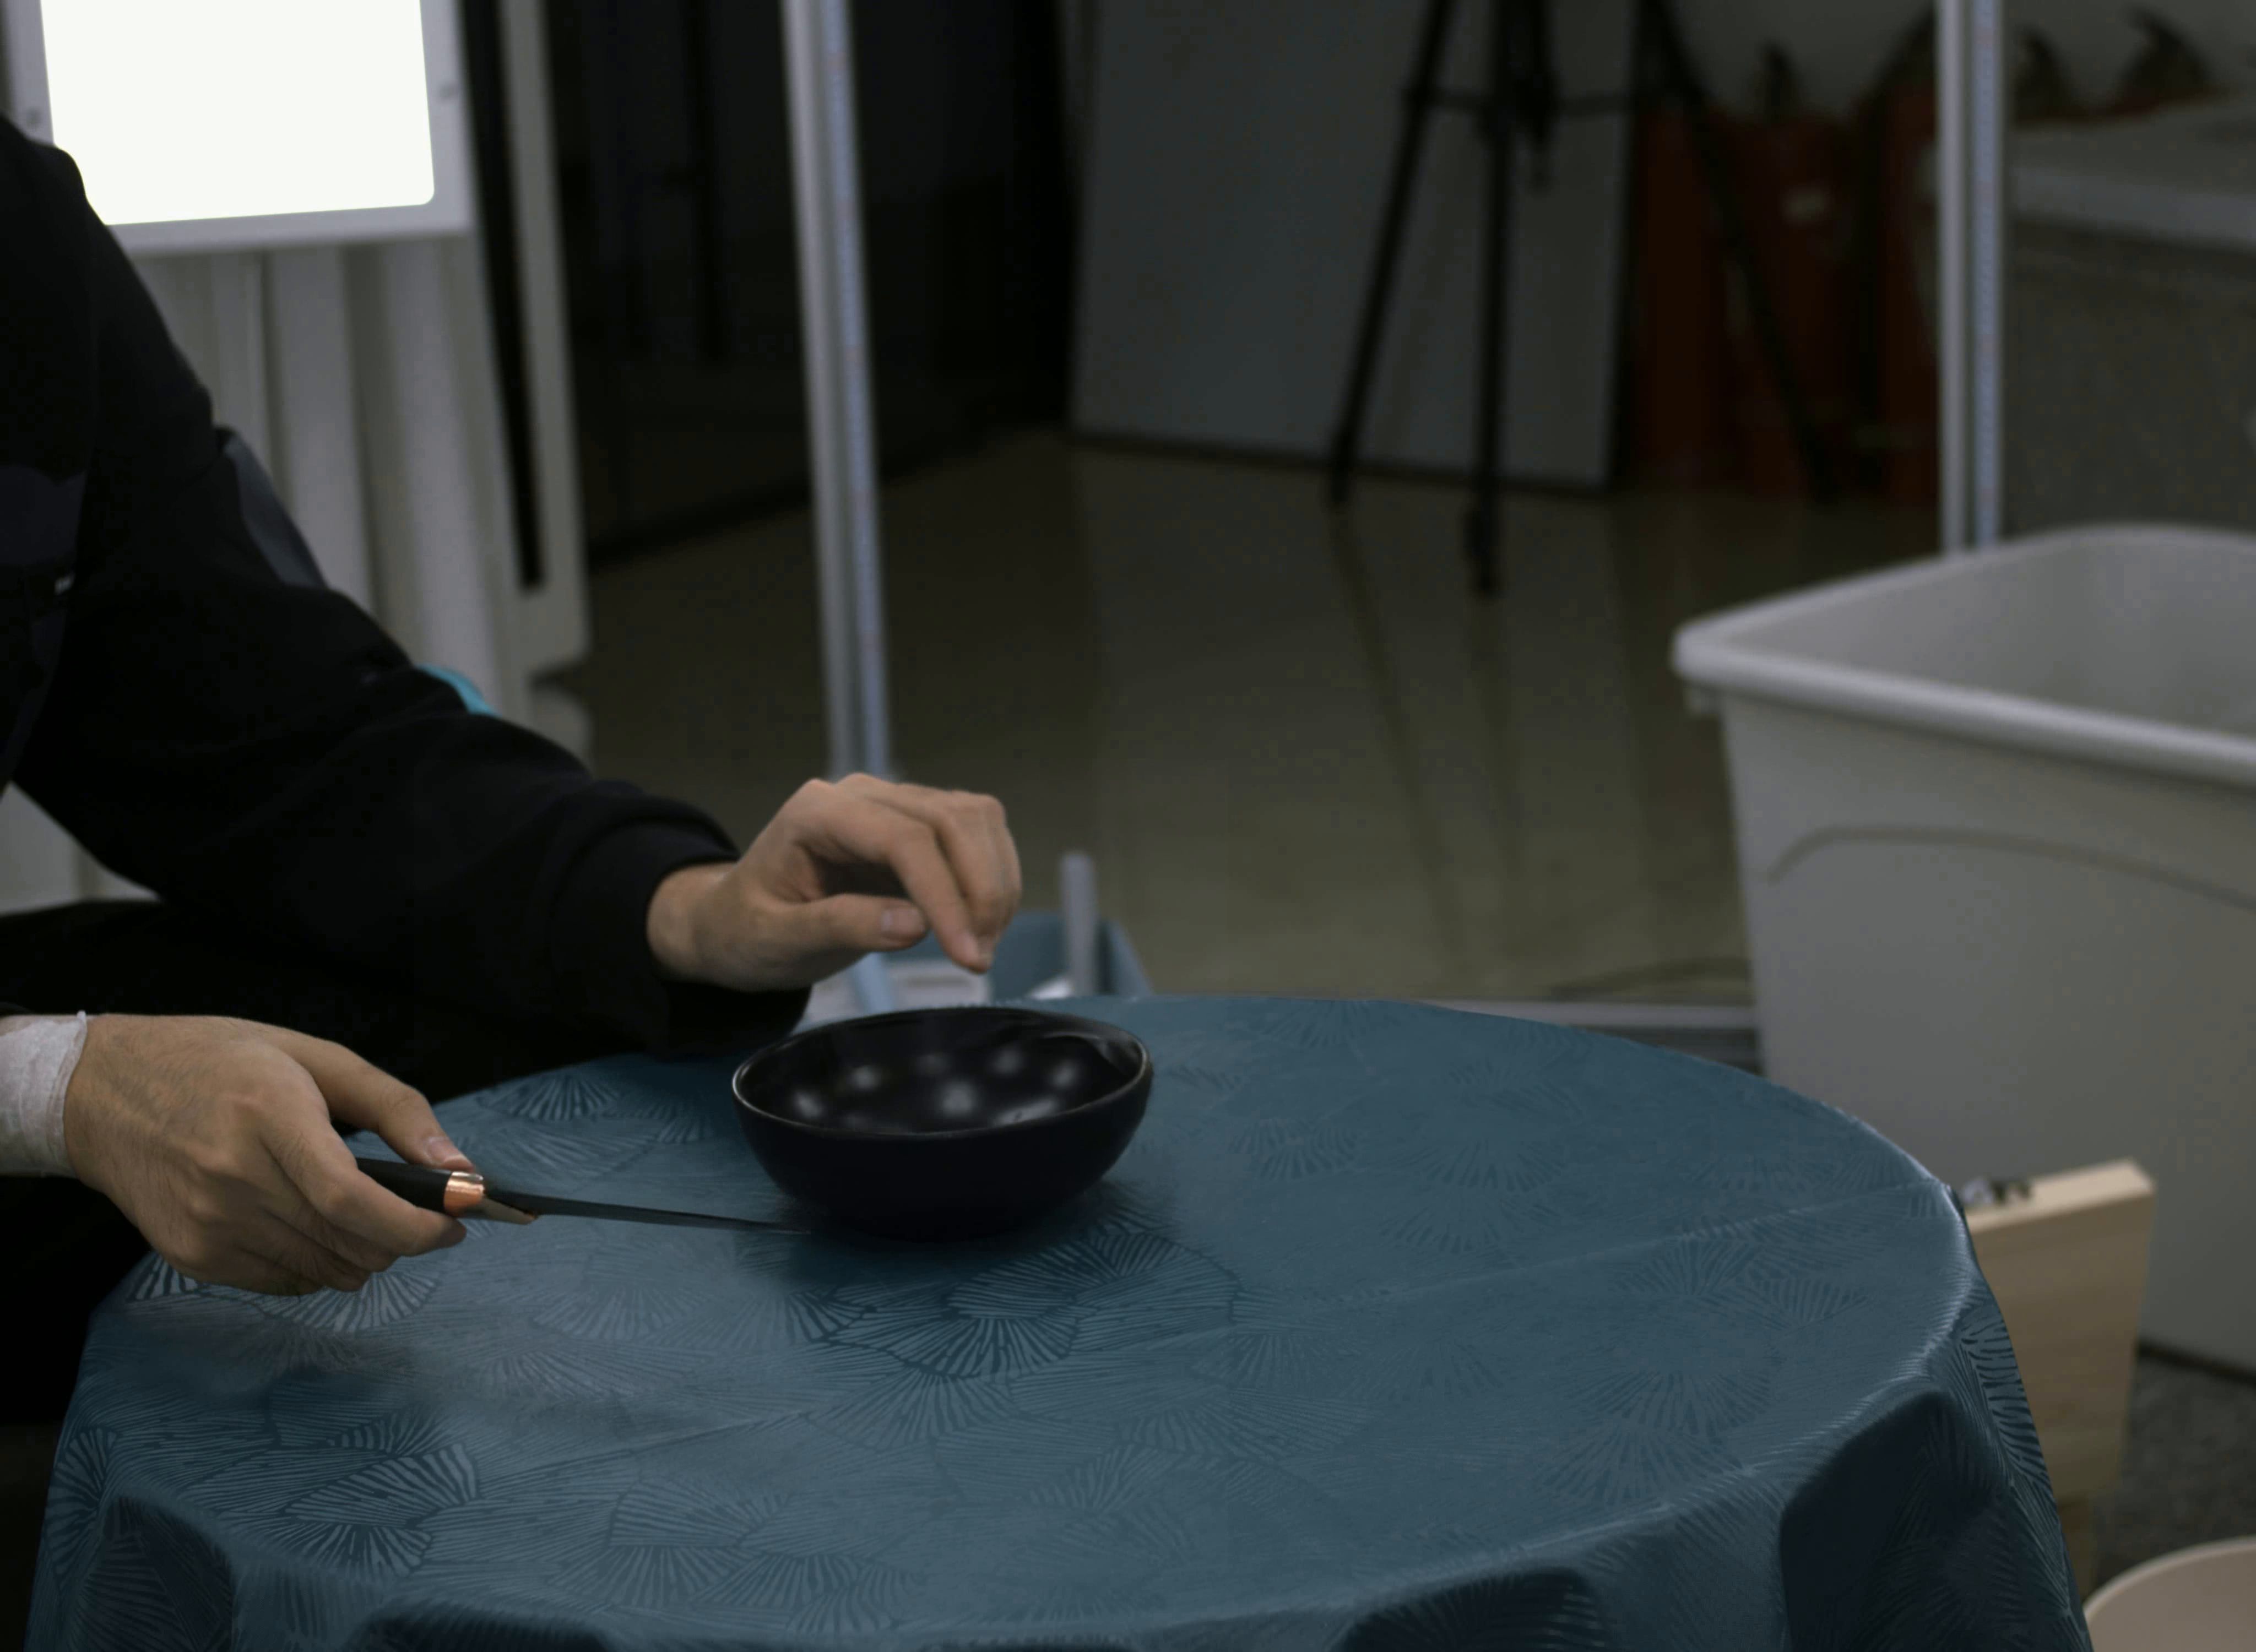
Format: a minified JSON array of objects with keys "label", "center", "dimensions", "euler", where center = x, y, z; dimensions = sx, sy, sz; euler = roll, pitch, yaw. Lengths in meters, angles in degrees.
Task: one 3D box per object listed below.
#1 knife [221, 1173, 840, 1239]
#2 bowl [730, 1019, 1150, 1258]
[{"label":"knife","center":[-0.182,0.116,1.629],"dimensions":[0.226,0.017,0.026],"euler":[1,-16,33]},{"label":"bowl","center":[-0.058,0.106,1.758],"dimensions":[0.138,0.050,0.140],"euler":[-8,13,1]}]
